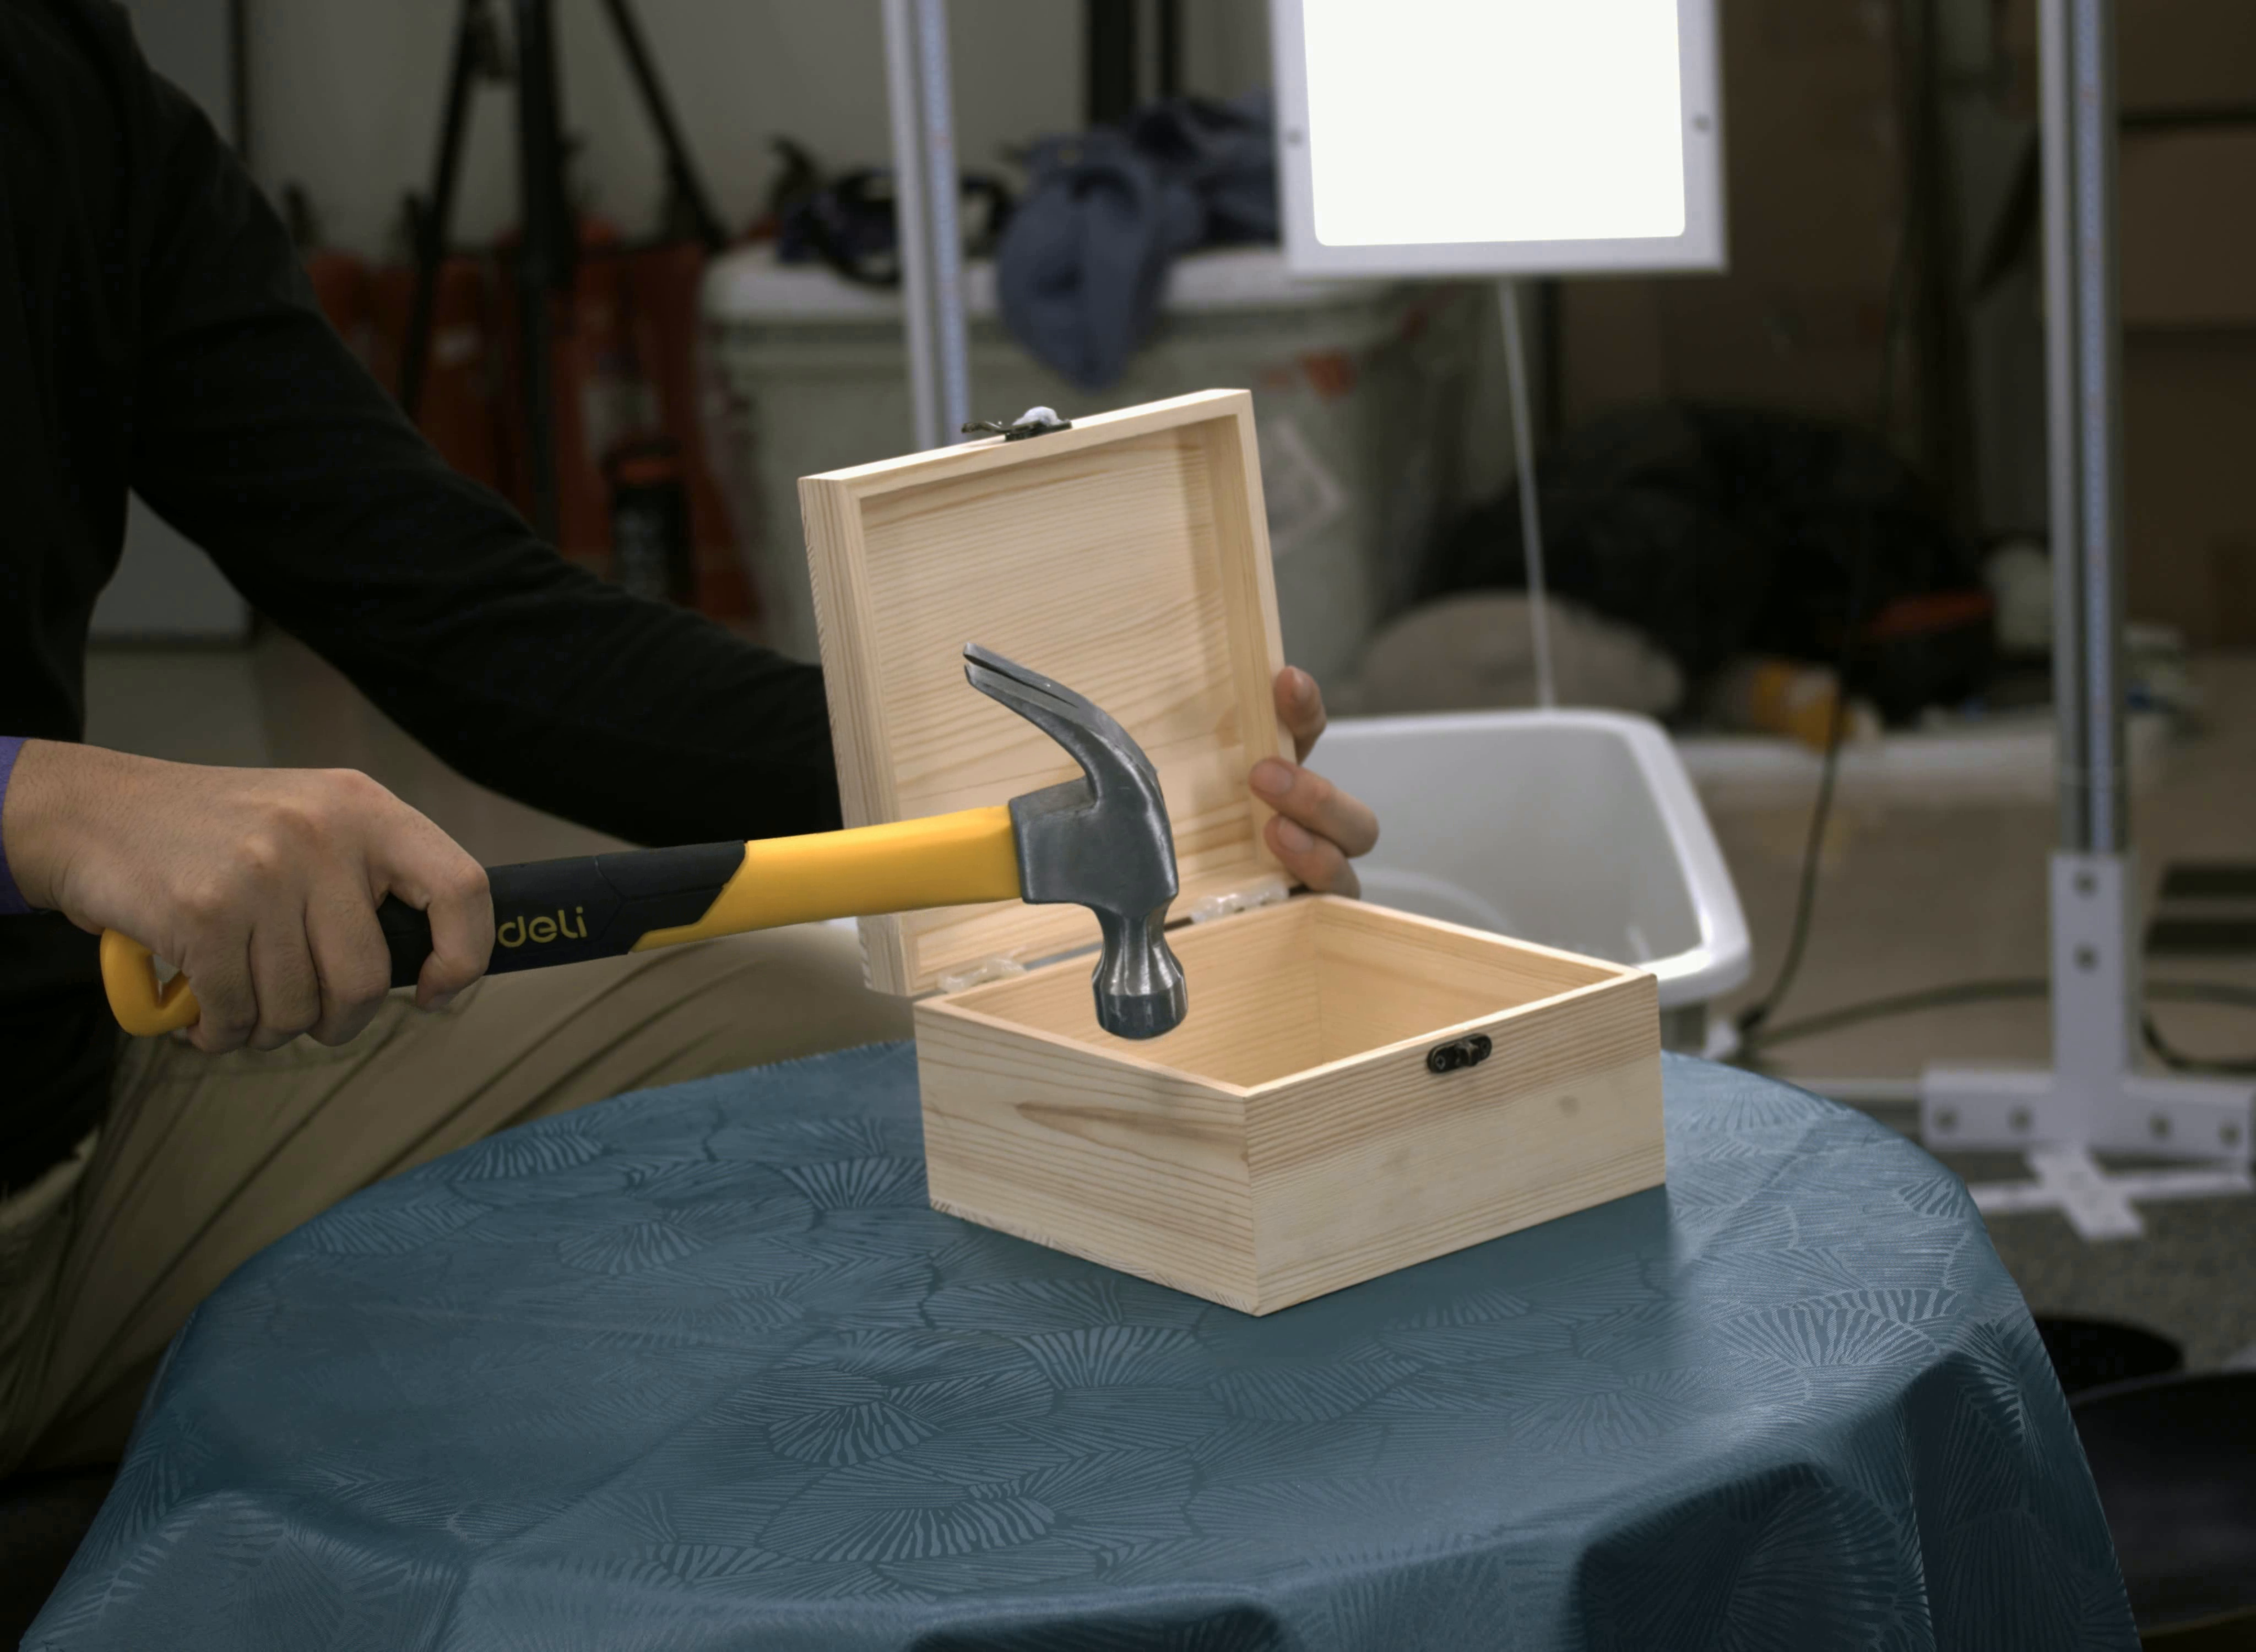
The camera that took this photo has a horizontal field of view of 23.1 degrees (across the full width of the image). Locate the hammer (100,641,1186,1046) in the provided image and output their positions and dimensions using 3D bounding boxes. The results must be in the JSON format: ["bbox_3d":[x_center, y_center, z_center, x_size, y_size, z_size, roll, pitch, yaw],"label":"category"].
[{"bbox_3d":[-0.154,0.024,1.737,0.337,0.132,0.032,-9,22,0],"label":"hammer"}]

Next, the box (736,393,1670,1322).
[{"bbox_3d":[0.027,0.001,1.875,0.177,0.254,0.270,-17,18,-35],"label":"box"}]
